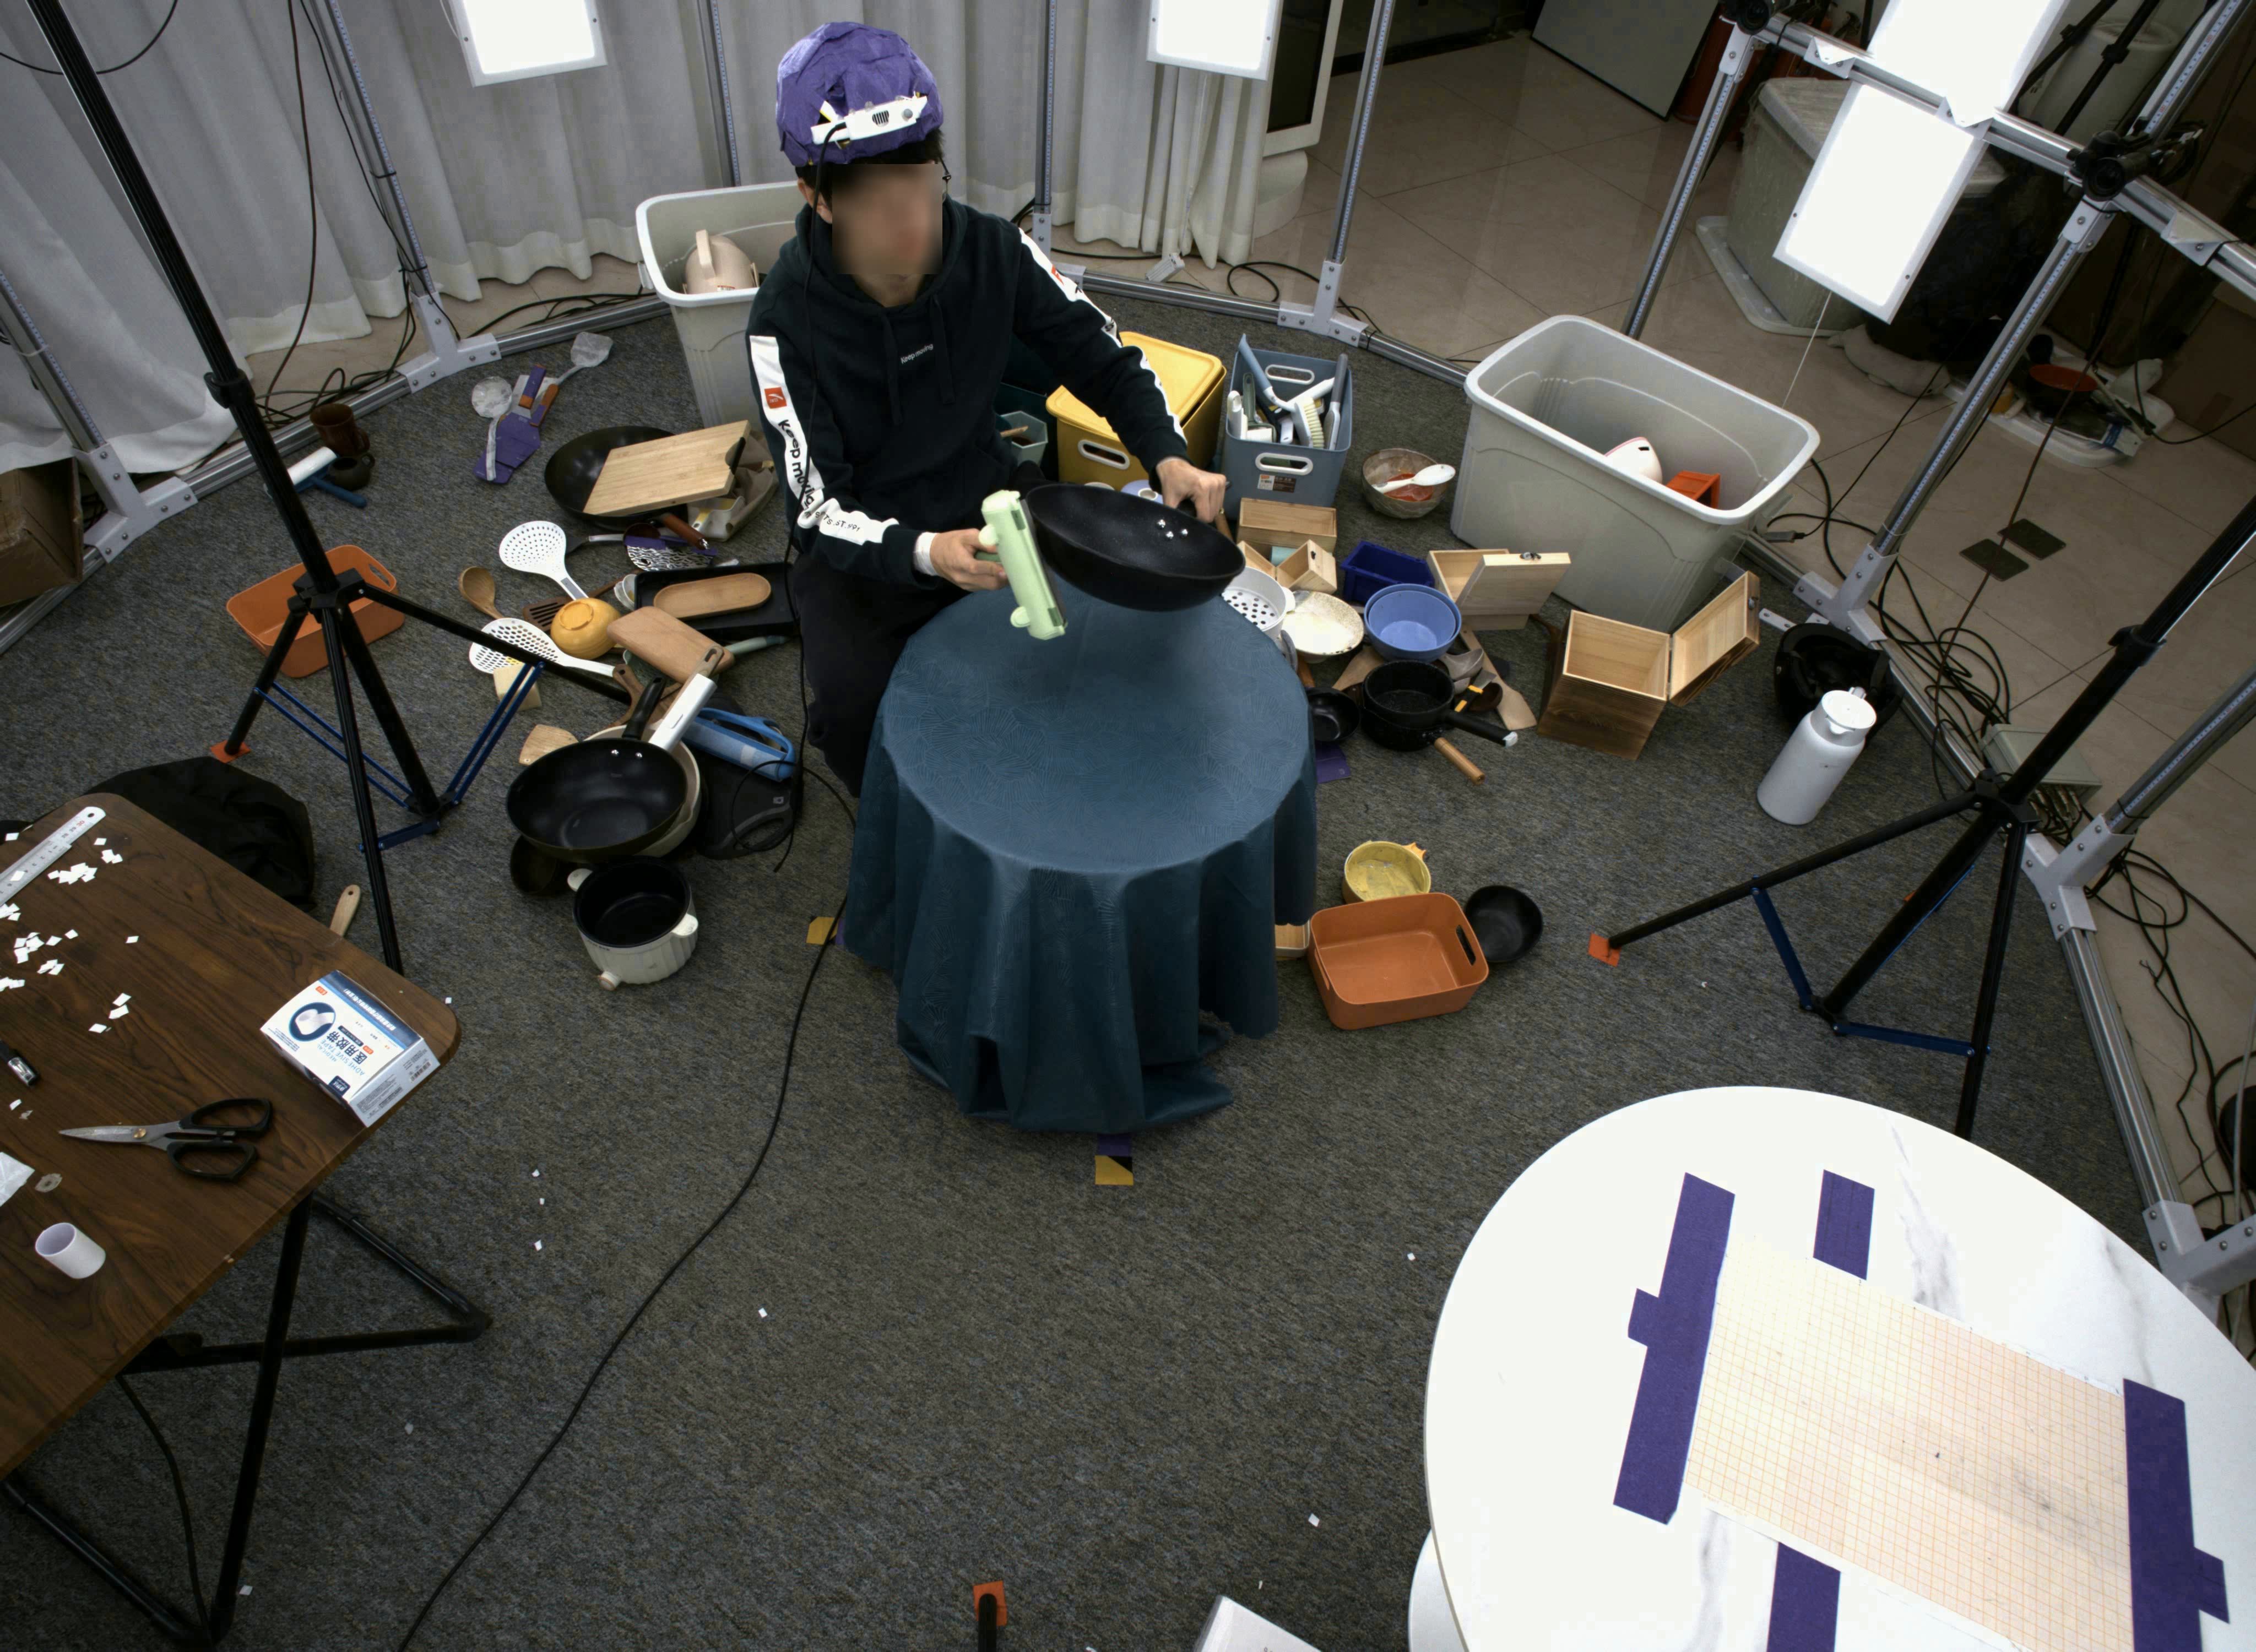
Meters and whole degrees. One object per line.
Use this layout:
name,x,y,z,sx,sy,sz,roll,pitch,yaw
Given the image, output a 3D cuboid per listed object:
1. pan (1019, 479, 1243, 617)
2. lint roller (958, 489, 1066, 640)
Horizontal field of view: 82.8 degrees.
pan,0.035,-0.399,1.802,0.312,0.109,0.482,27,30,15
lint roller,-0.181,-0.339,1.701,0.184,0.195,0.083,7,38,43
